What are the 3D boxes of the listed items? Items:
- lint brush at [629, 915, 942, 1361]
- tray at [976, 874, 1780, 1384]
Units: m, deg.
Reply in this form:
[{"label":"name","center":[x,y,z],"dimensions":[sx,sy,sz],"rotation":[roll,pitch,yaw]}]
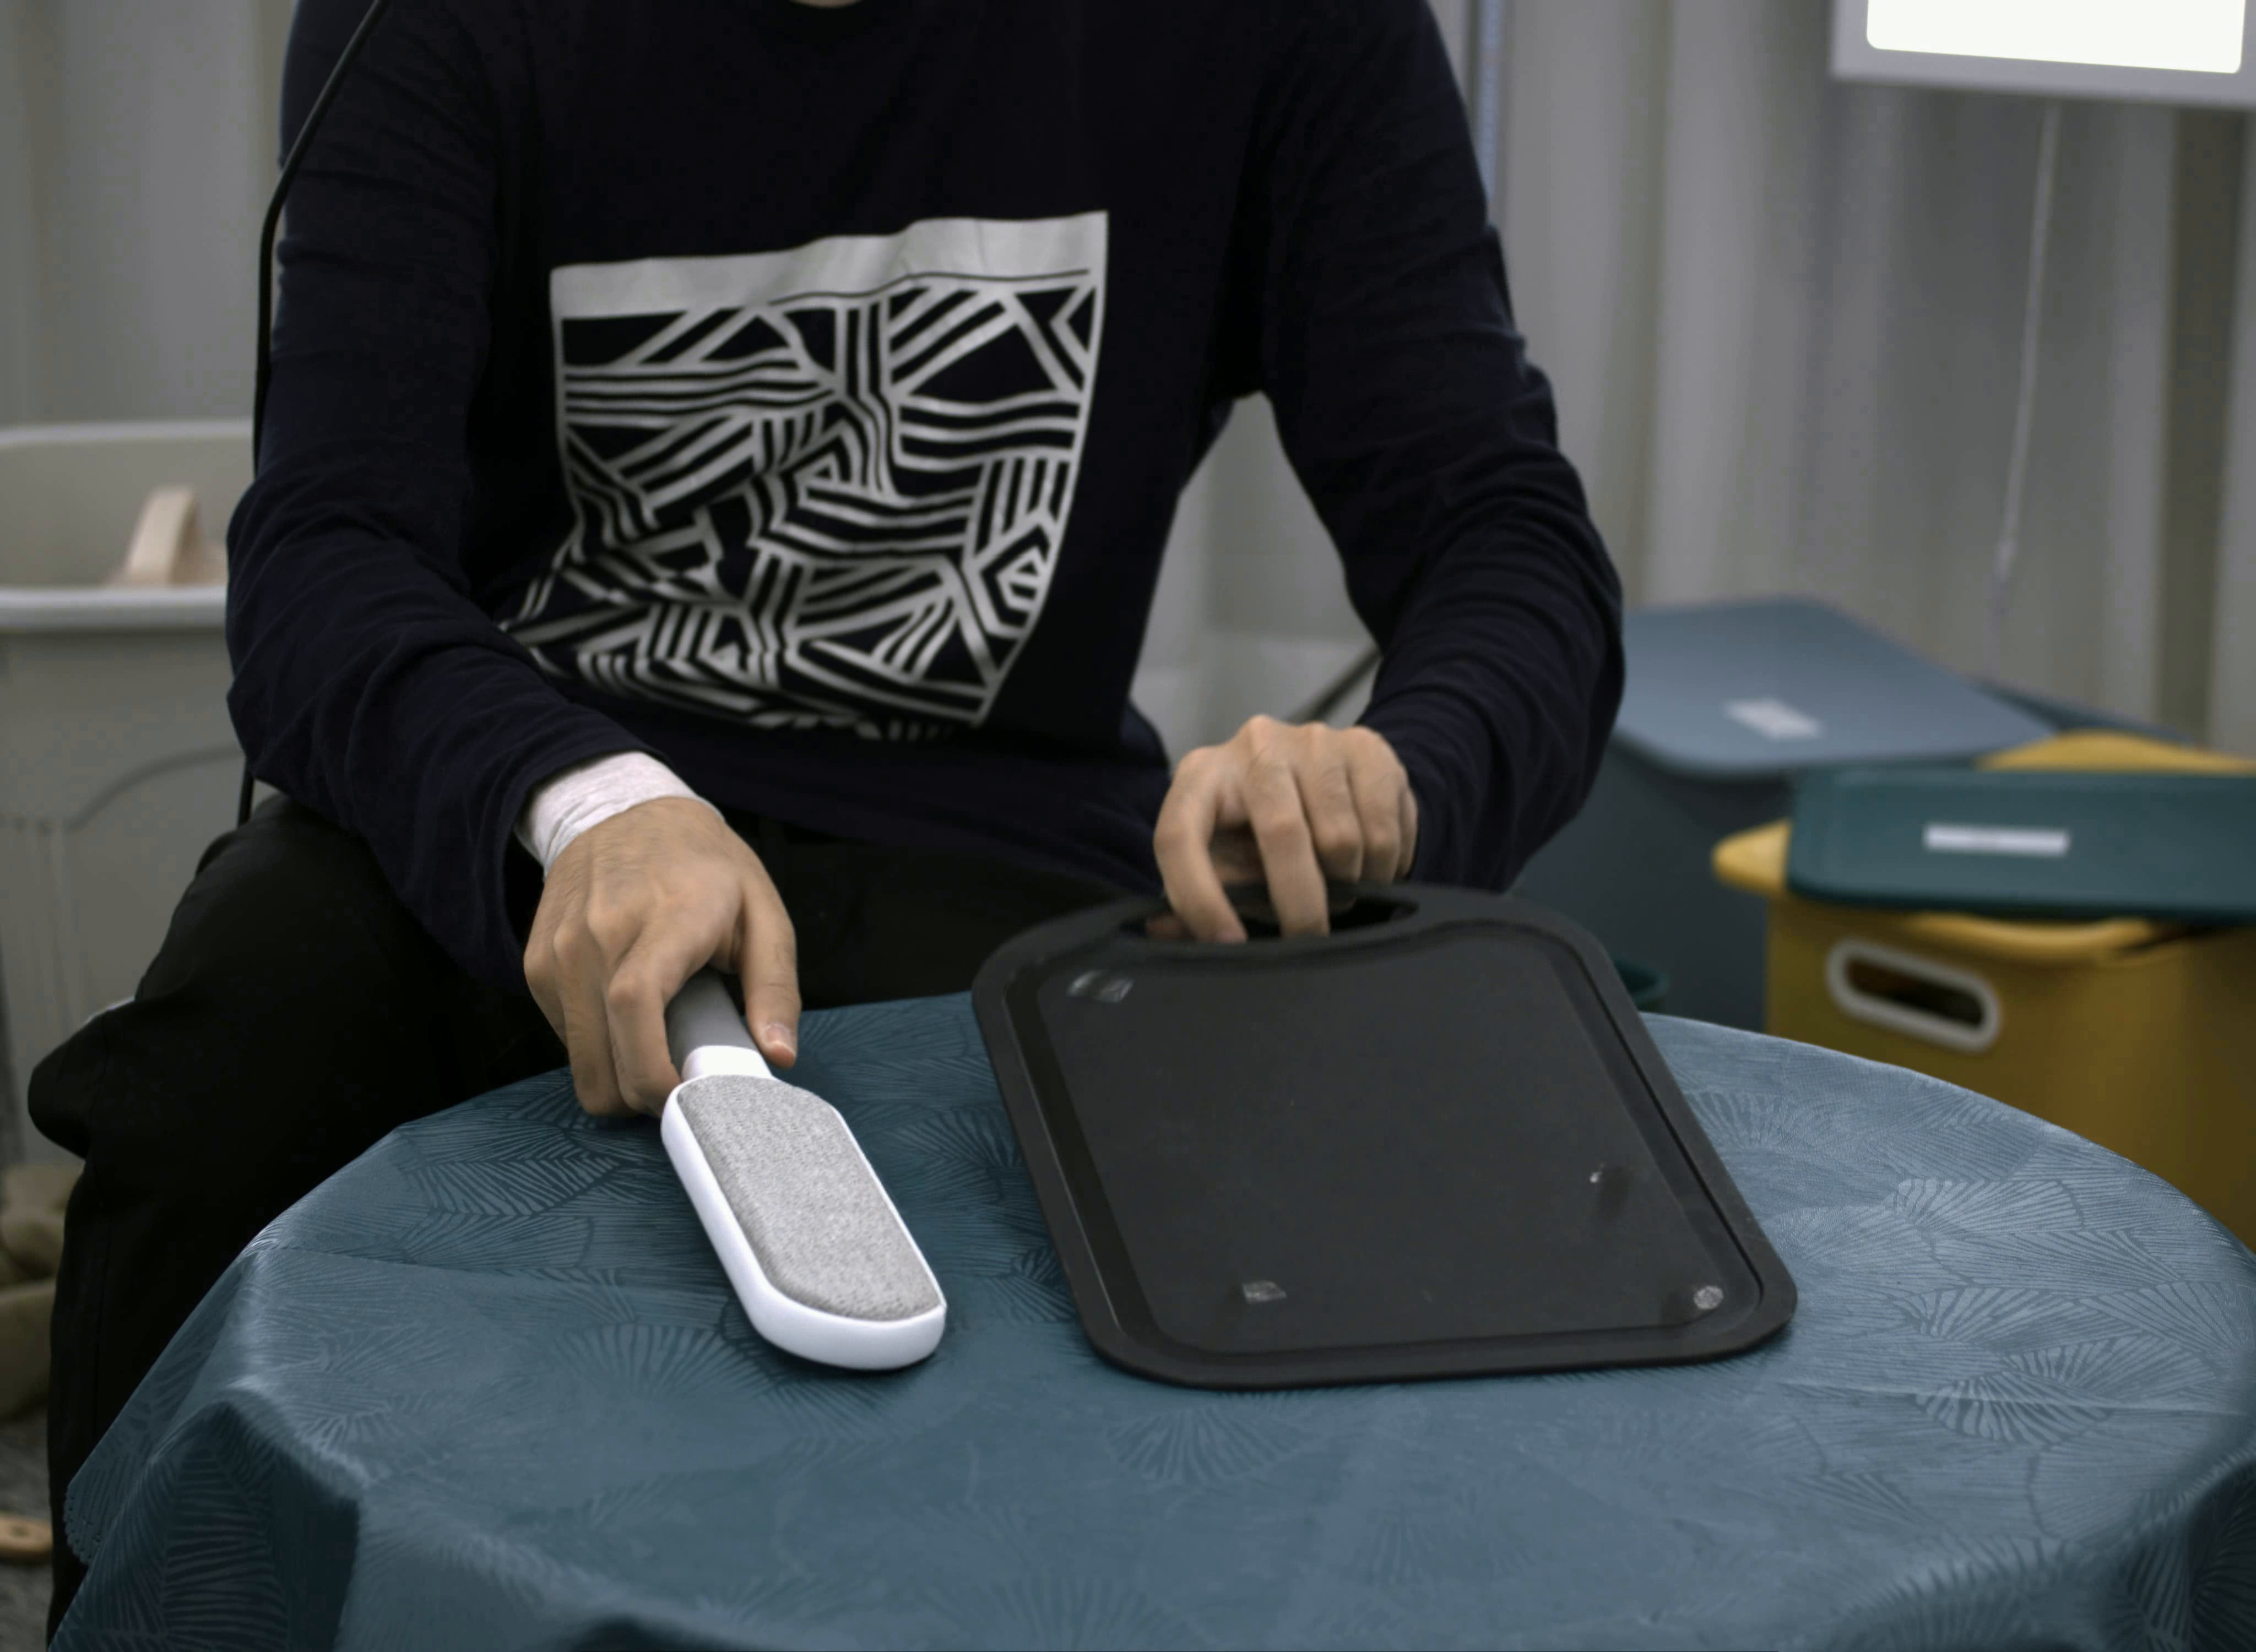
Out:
[{"label":"lint brush","center":[-0.112,0.090,1.598],"dimensions":[0.060,0.021,0.305],"rotation":[0,21,-17]},{"label":"tray","center":[0.068,0.084,1.620],"dimensions":[0.211,0.010,0.322],"rotation":[-1,25,-9]}]
